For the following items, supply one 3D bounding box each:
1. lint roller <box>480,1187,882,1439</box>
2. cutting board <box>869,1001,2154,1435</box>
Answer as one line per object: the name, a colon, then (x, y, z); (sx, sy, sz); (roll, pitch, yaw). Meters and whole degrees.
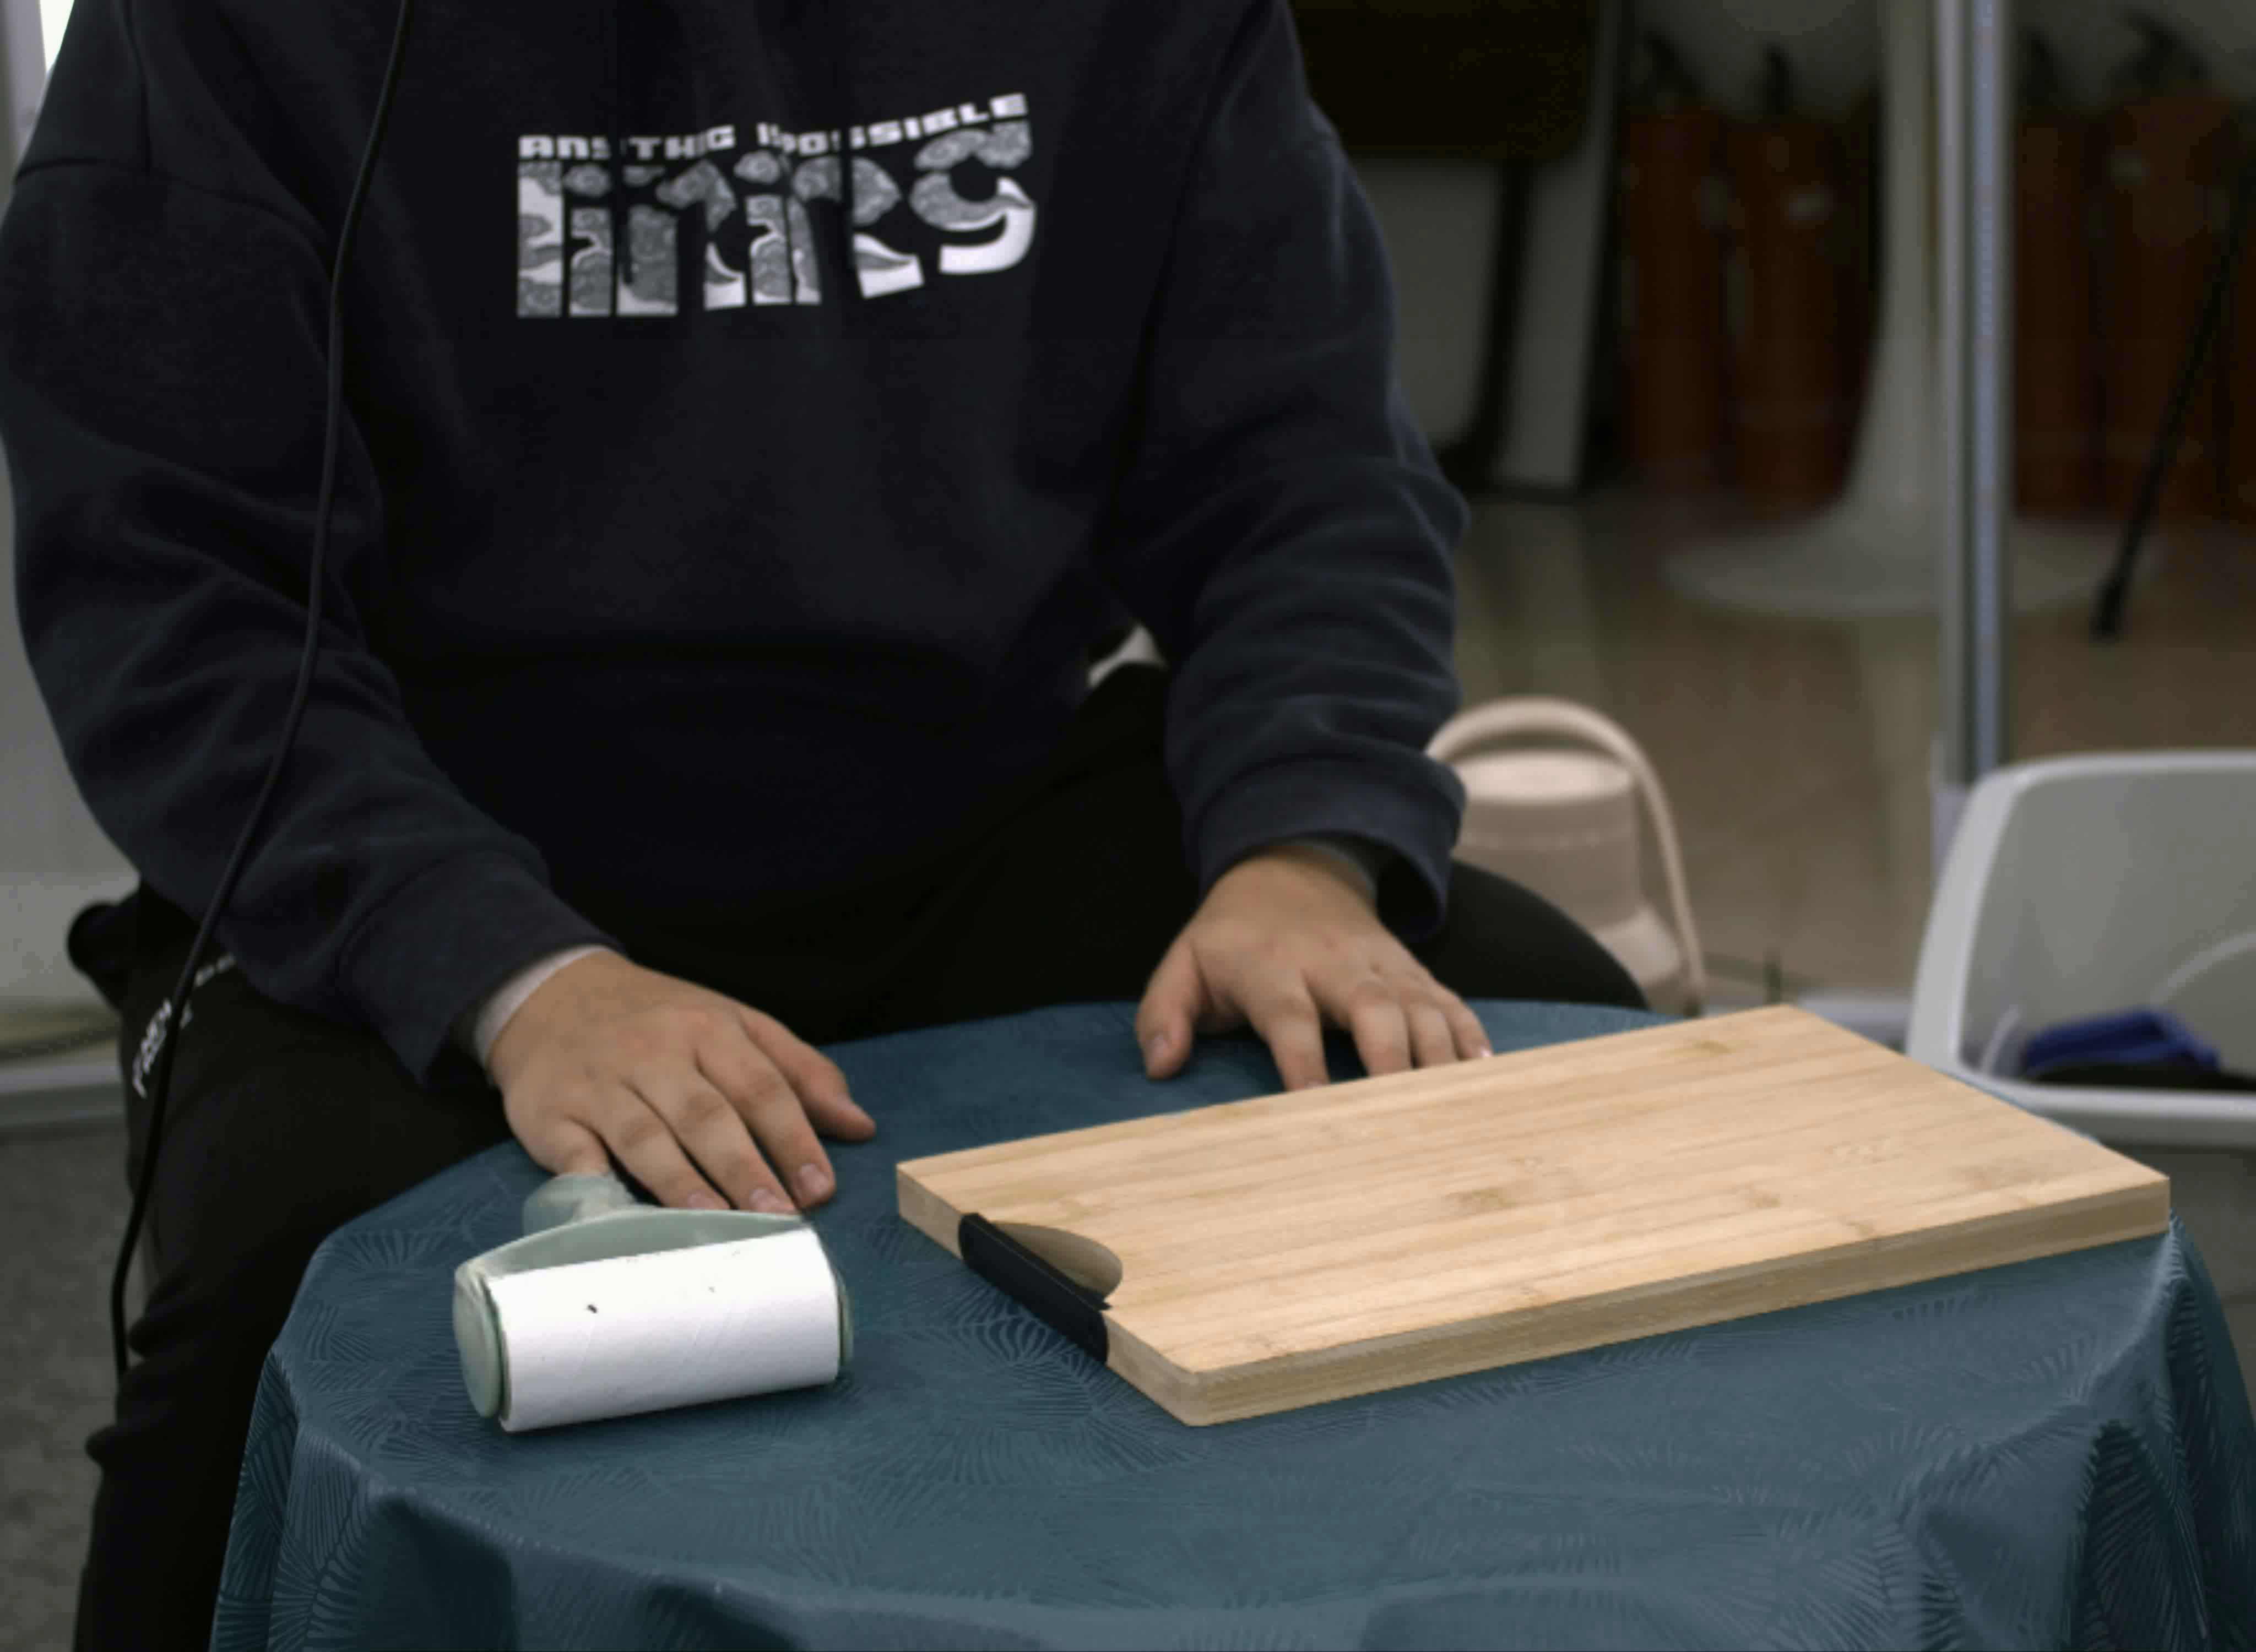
lint roller: (-0.151, 0.137, 1.666); (0.114, 0.049, 0.199); (-10, 13, -15)
cutting board: (0.119, 0.119, 1.715); (0.341, 0.024, 0.253); (-10, 14, -22)
